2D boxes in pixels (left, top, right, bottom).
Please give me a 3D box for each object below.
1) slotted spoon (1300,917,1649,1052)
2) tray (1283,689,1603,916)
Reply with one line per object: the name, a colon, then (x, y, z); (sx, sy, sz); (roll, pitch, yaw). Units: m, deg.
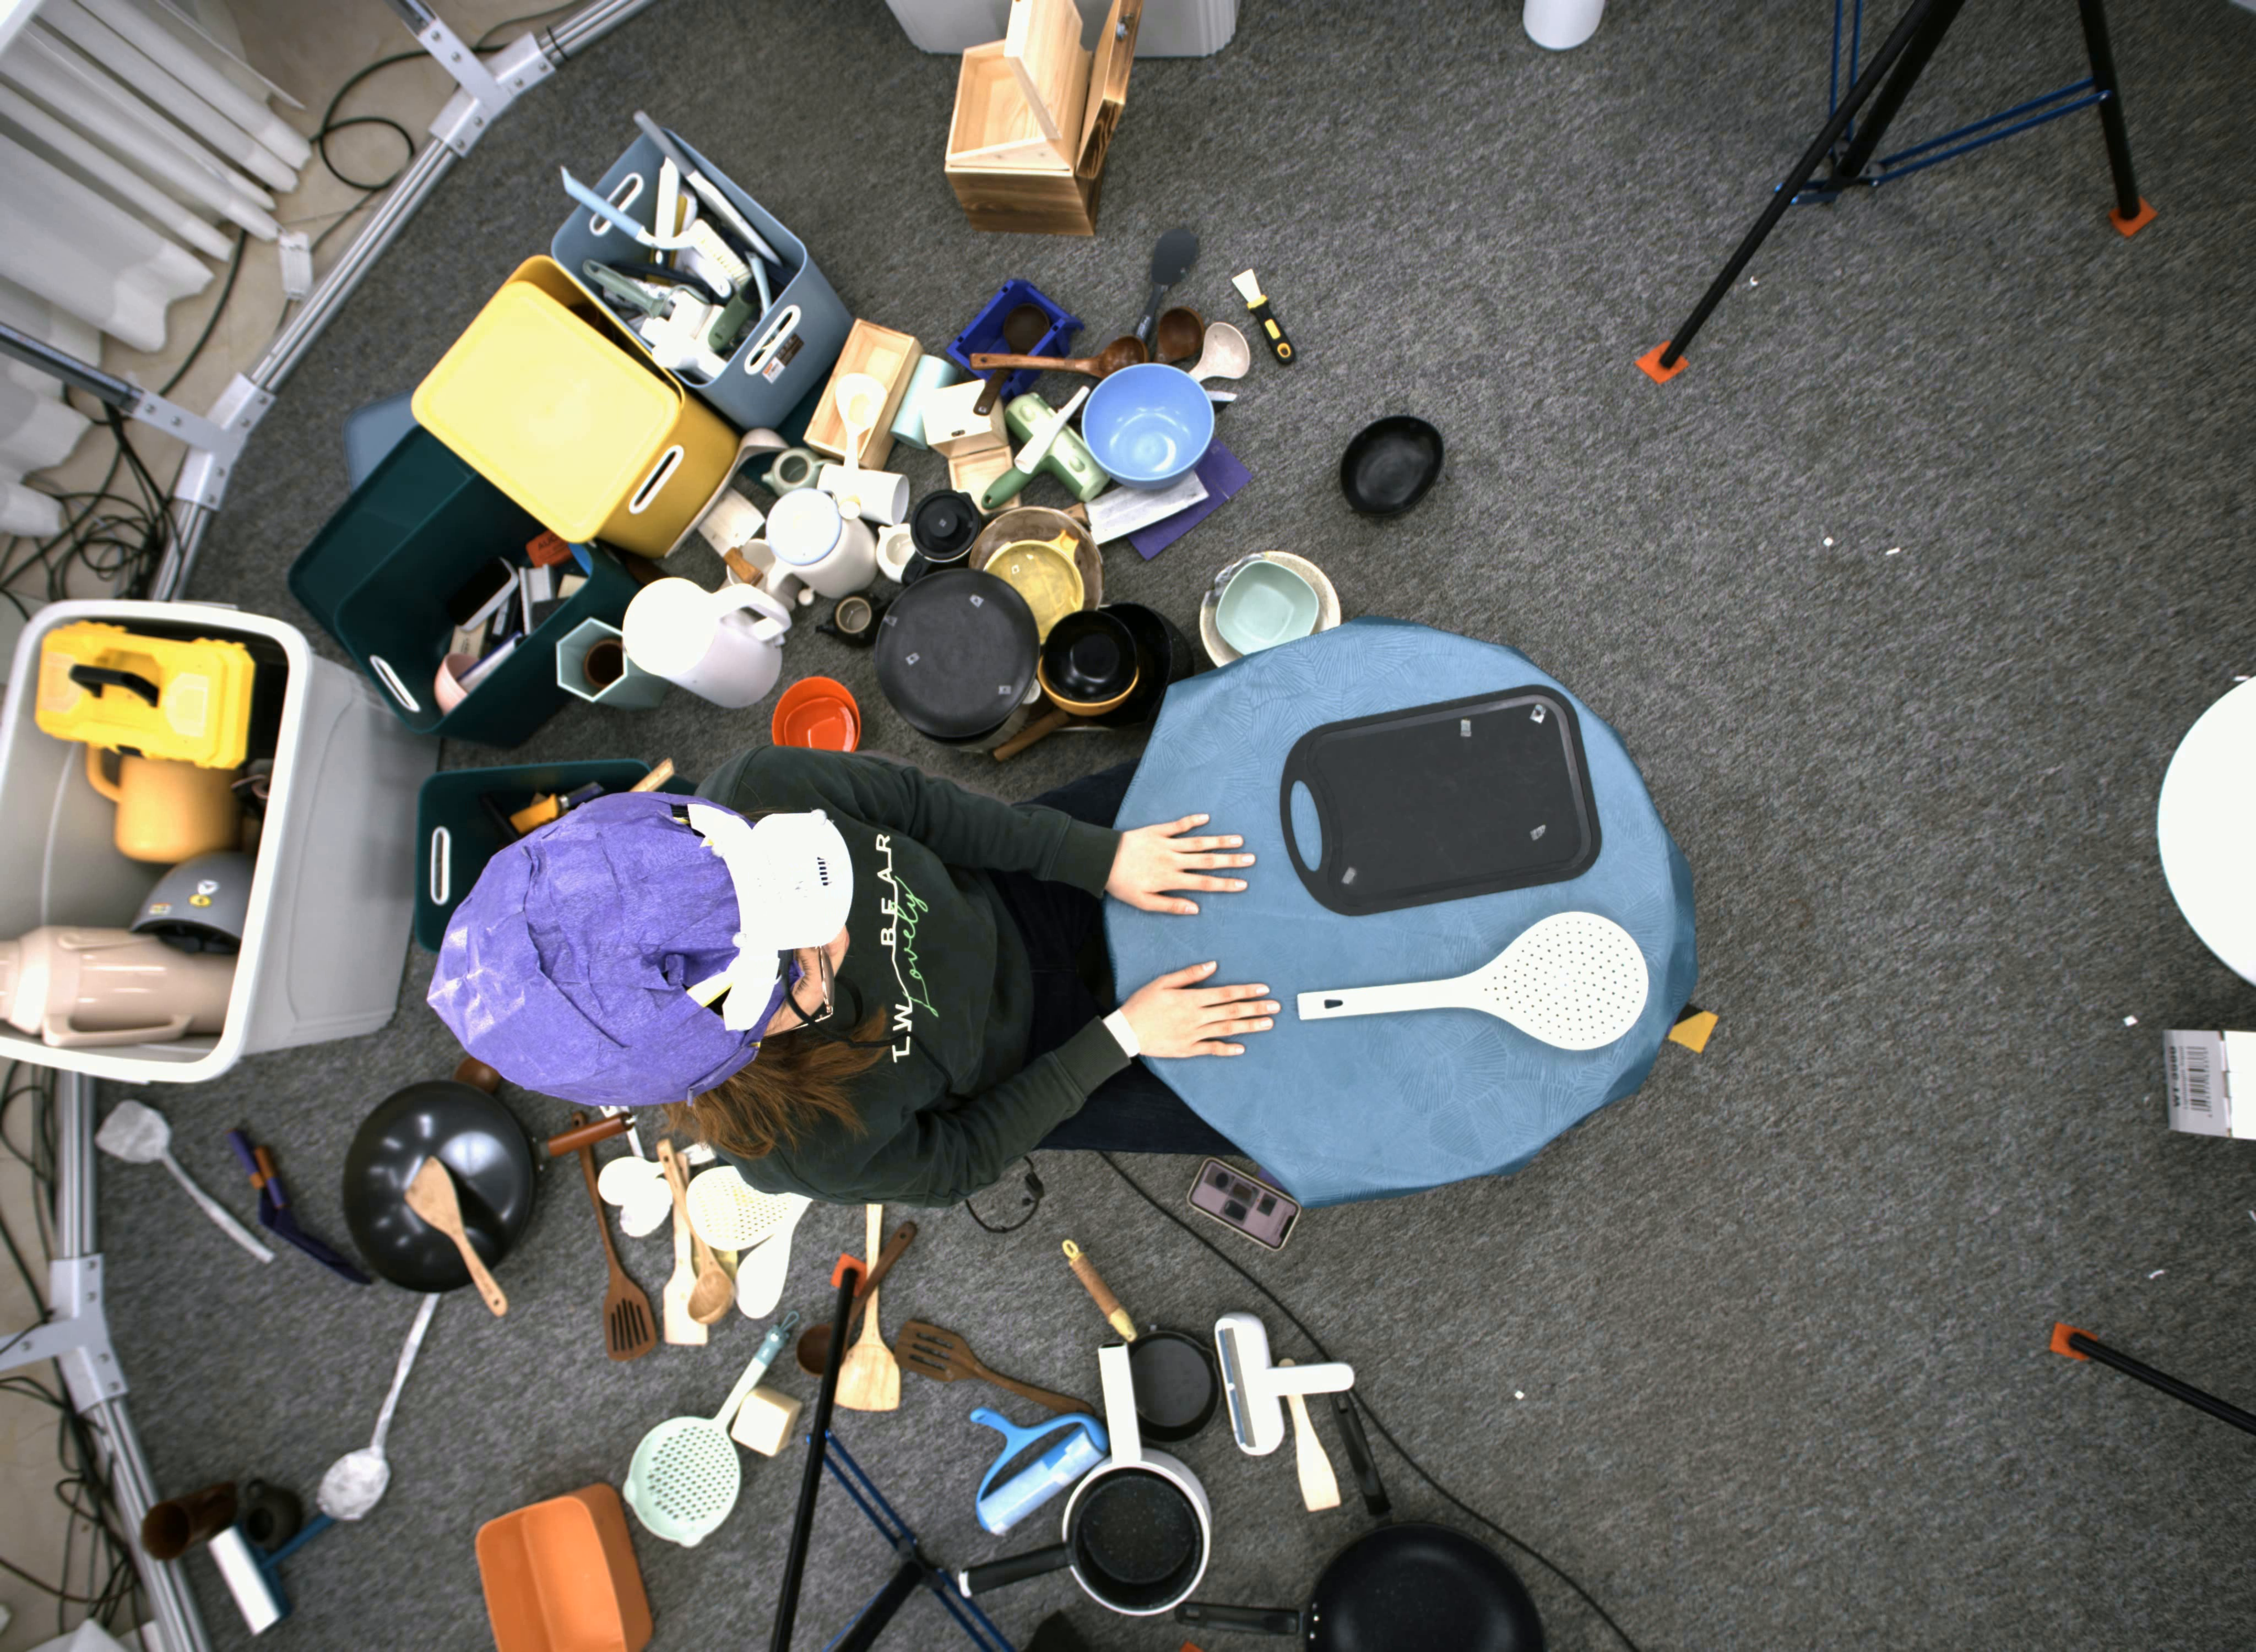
slotted spoon: (0.351, 0.171, 1.420); (0.351, 0.046, 0.135); (-6, 82, 11)
tray: (0.327, -0.024, 1.457); (0.327, 0.010, 0.210); (-10, 84, 10)
